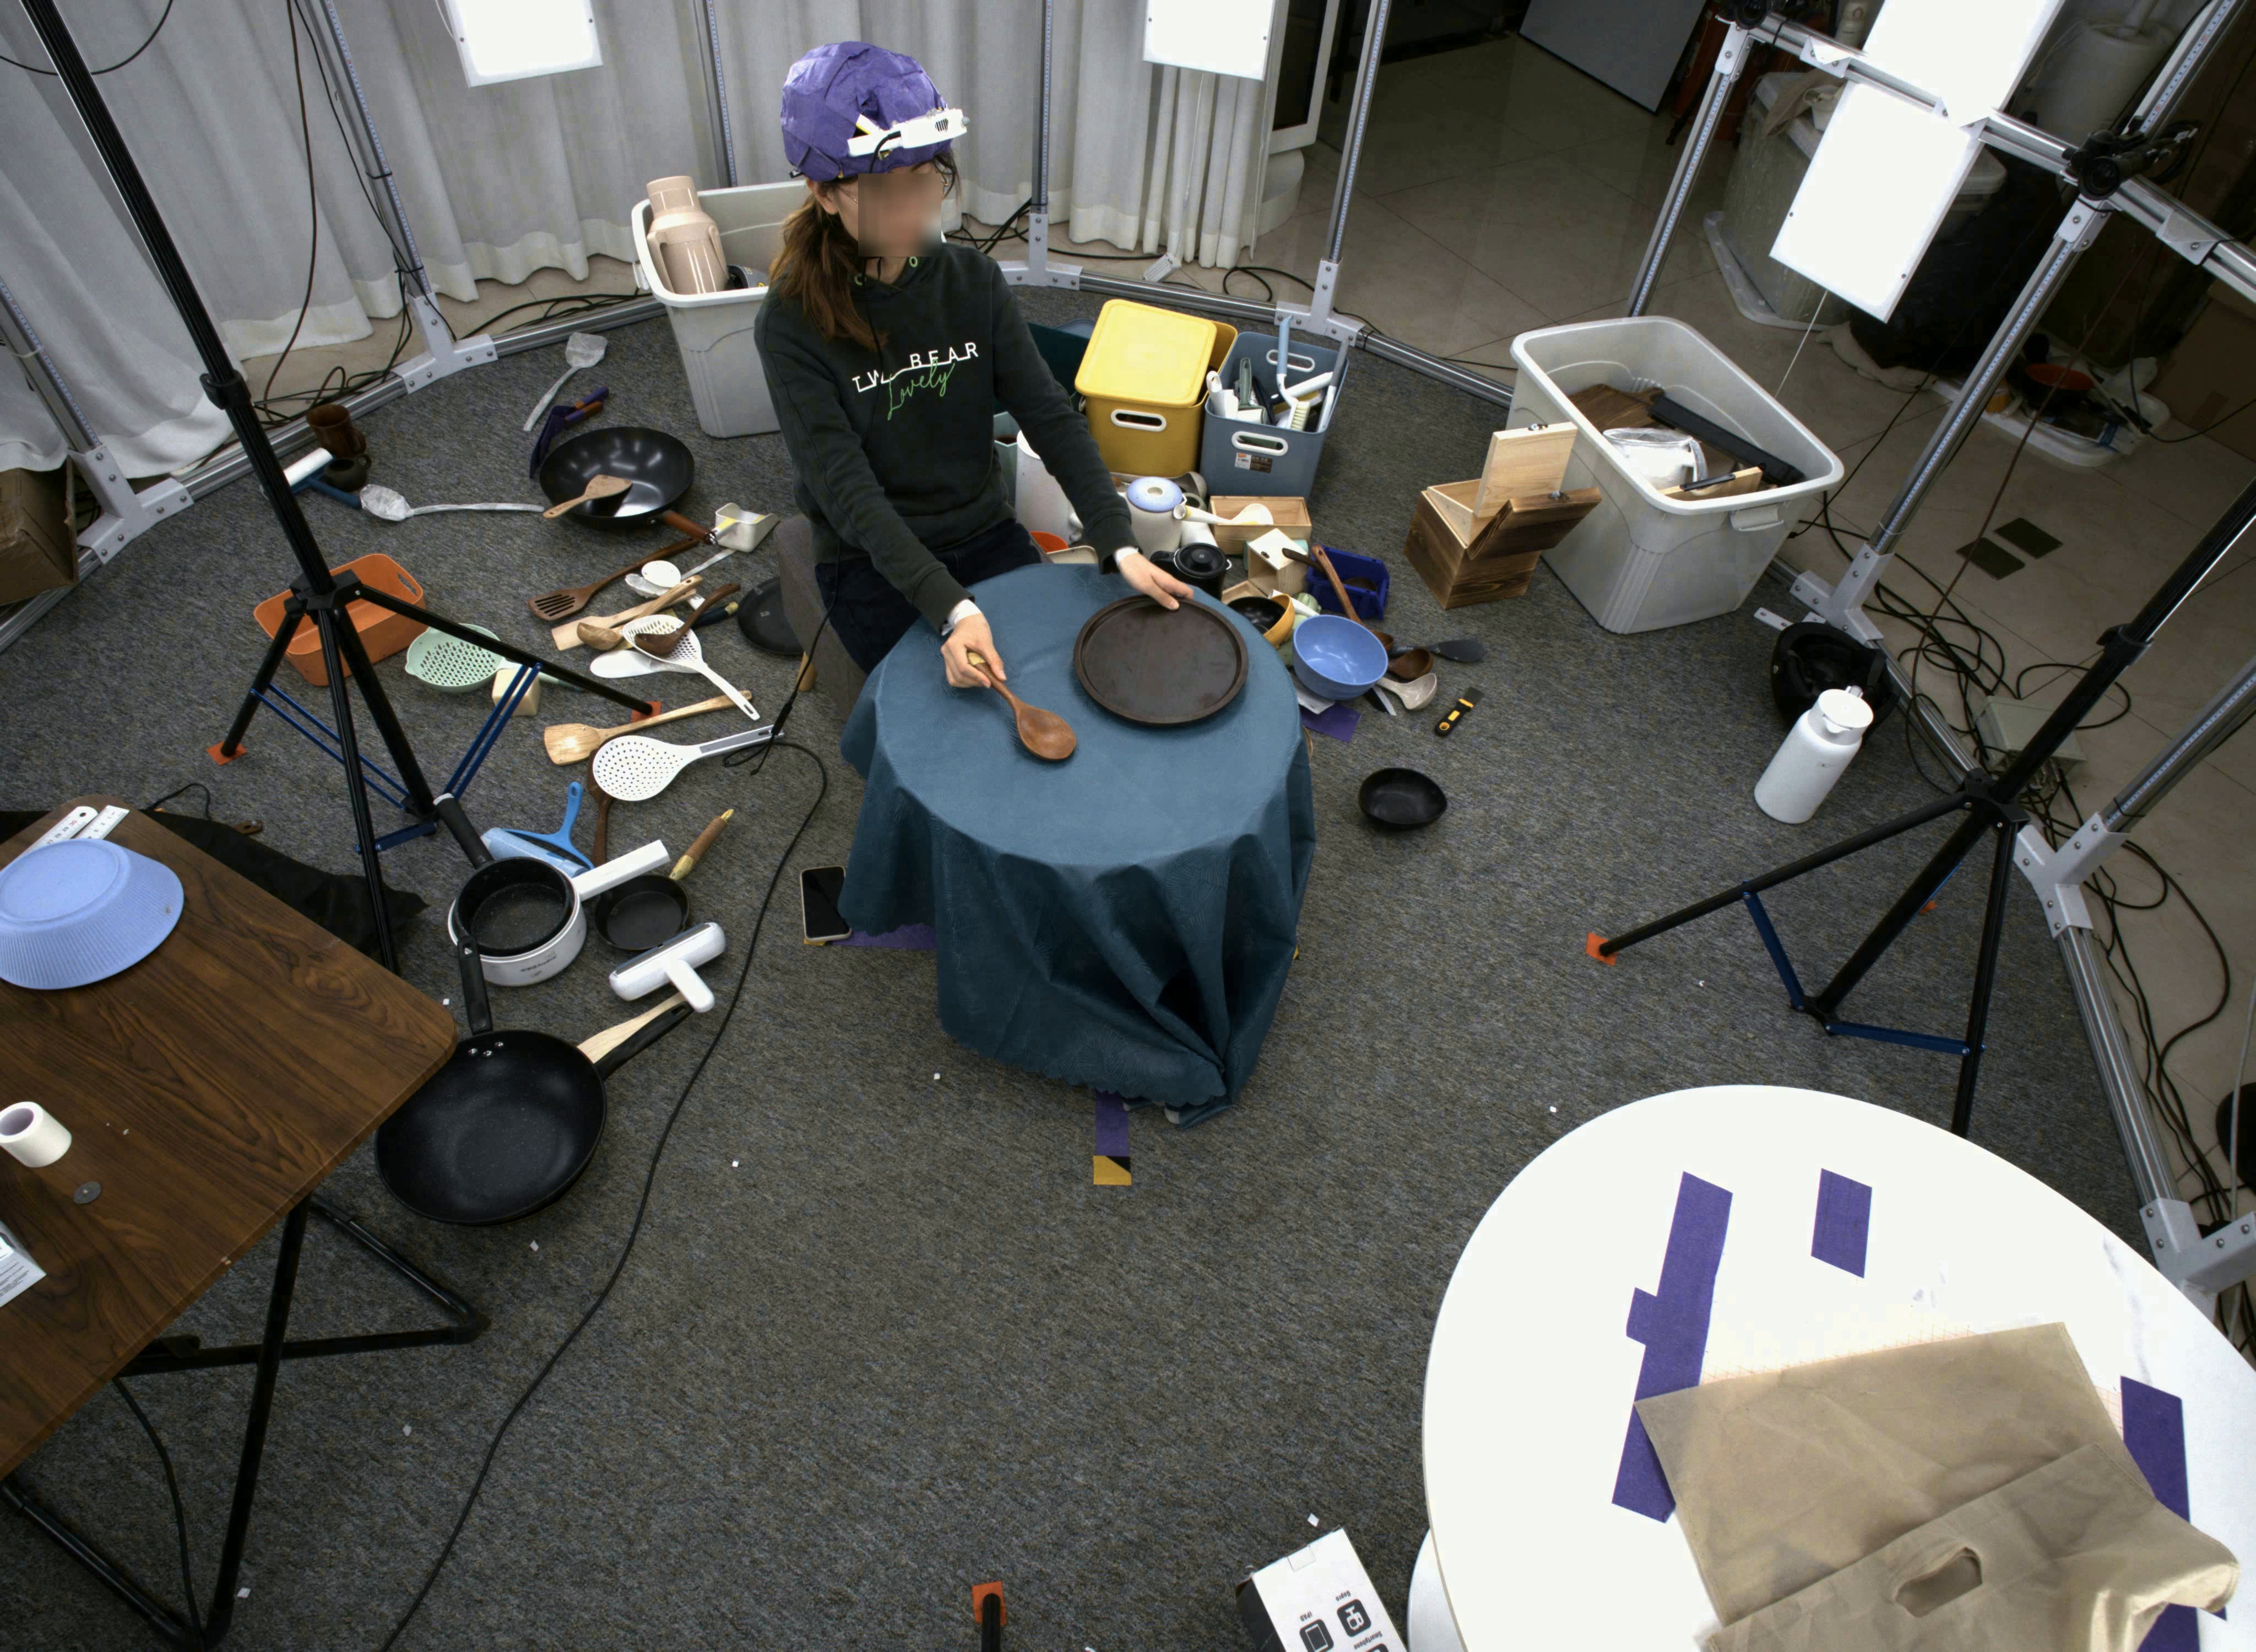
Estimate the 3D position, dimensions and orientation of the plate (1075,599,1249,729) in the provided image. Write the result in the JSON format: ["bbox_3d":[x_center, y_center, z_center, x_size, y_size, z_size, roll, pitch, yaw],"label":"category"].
[{"bbox_3d":[0.049,-0.238,1.870,0.254,0.028,0.261,1,53,-2],"label":"plate"}]

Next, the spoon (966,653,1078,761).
[{"bbox_3d":[-0.152,-0.167,1.788,0.076,0.017,0.218,-32,69,-31],"label":"spoon"}]
